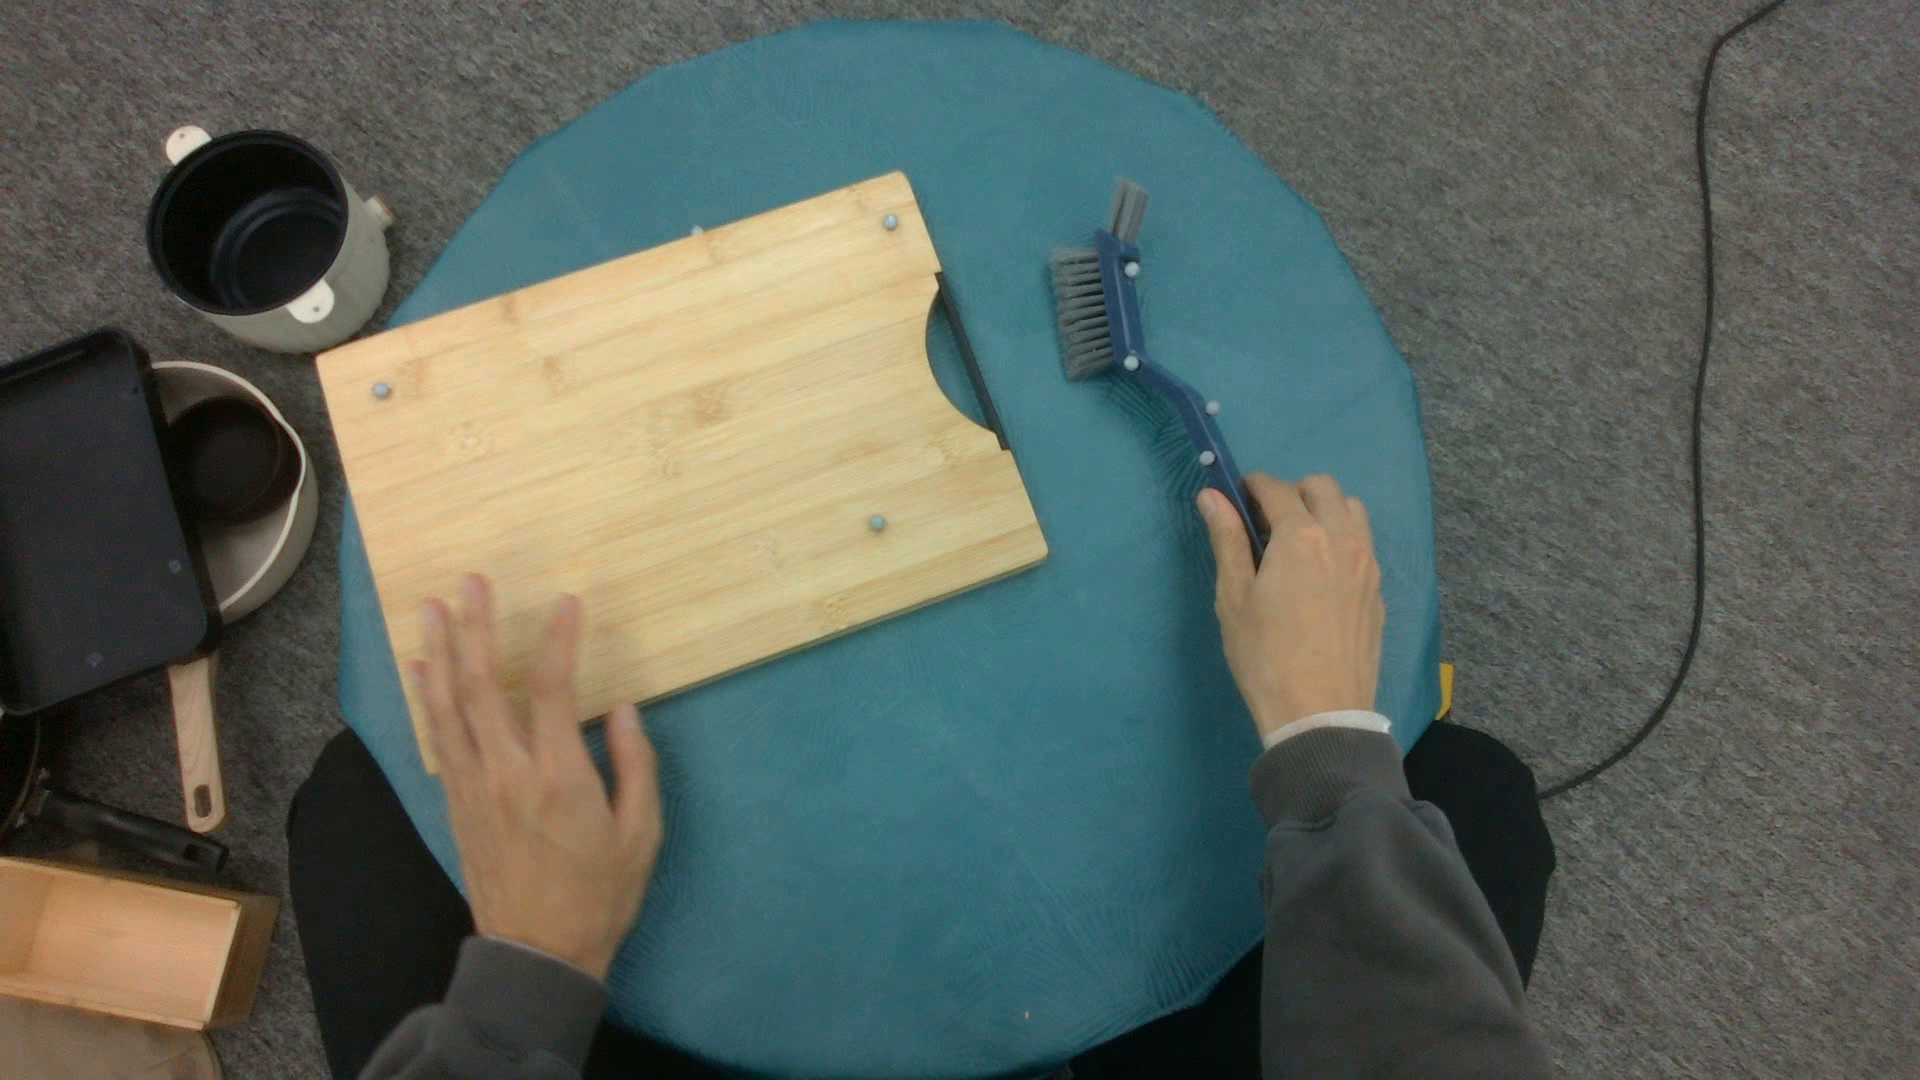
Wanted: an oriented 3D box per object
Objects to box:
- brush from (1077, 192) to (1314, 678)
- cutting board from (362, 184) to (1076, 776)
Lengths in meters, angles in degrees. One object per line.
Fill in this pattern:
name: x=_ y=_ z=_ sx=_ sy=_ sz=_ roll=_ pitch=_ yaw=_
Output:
brush: x=0.141 y=-0.058 z=0.750 sx=0.095 sy=0.033 sz=0.273 roll=-35 pitch=72 yaw=18
cutting board: x=-0.140 y=-0.041 z=0.770 sx=0.349 sy=0.023 sz=0.251 roll=-20 pitch=78 yaw=-5
